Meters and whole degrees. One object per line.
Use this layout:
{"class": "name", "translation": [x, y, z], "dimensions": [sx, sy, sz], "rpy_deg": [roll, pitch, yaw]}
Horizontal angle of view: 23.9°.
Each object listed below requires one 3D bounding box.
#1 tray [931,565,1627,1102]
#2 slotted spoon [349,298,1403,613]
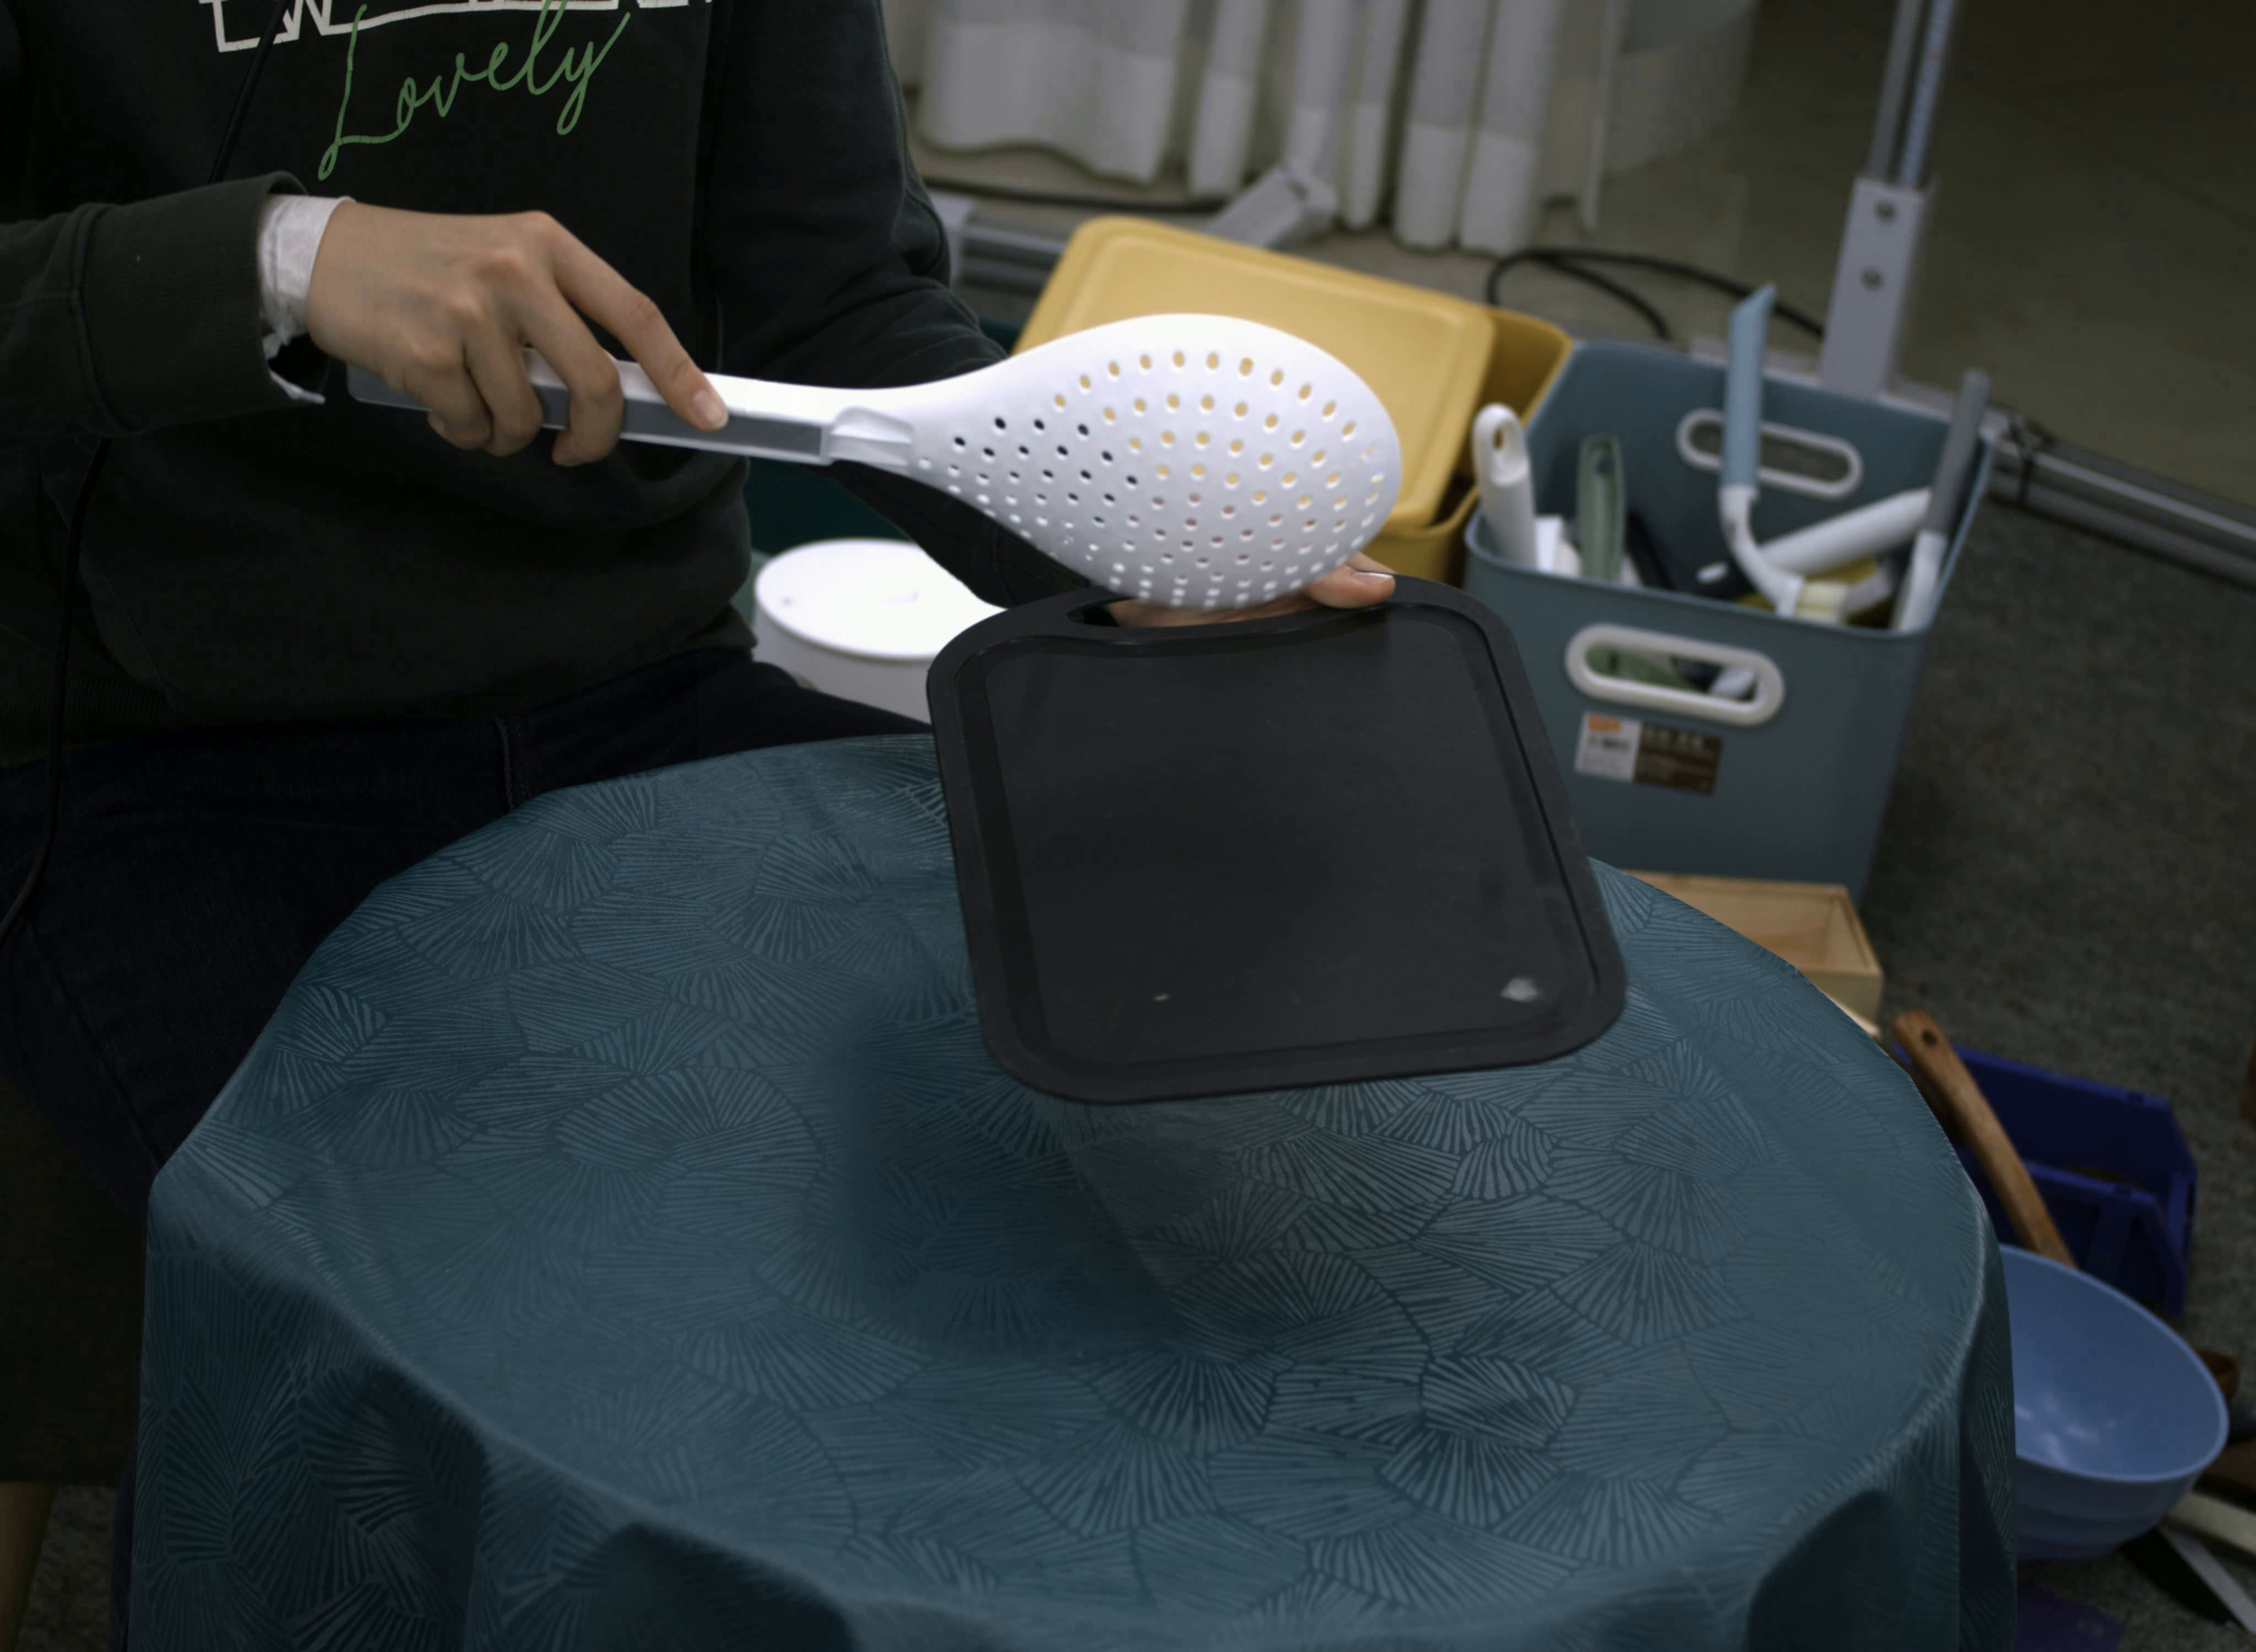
{"class": "tray", "translation": [0.044, -0.007, 1.799], "dimensions": [0.210, 0.010, 0.328], "rpy_deg": [-5, 33, -3]}
{"class": "slotted spoon", "translation": [-0.084, -0.132, 1.762], "dimensions": [0.349, 0.135, 0.046], "rpy_deg": [11, 46, 4]}
